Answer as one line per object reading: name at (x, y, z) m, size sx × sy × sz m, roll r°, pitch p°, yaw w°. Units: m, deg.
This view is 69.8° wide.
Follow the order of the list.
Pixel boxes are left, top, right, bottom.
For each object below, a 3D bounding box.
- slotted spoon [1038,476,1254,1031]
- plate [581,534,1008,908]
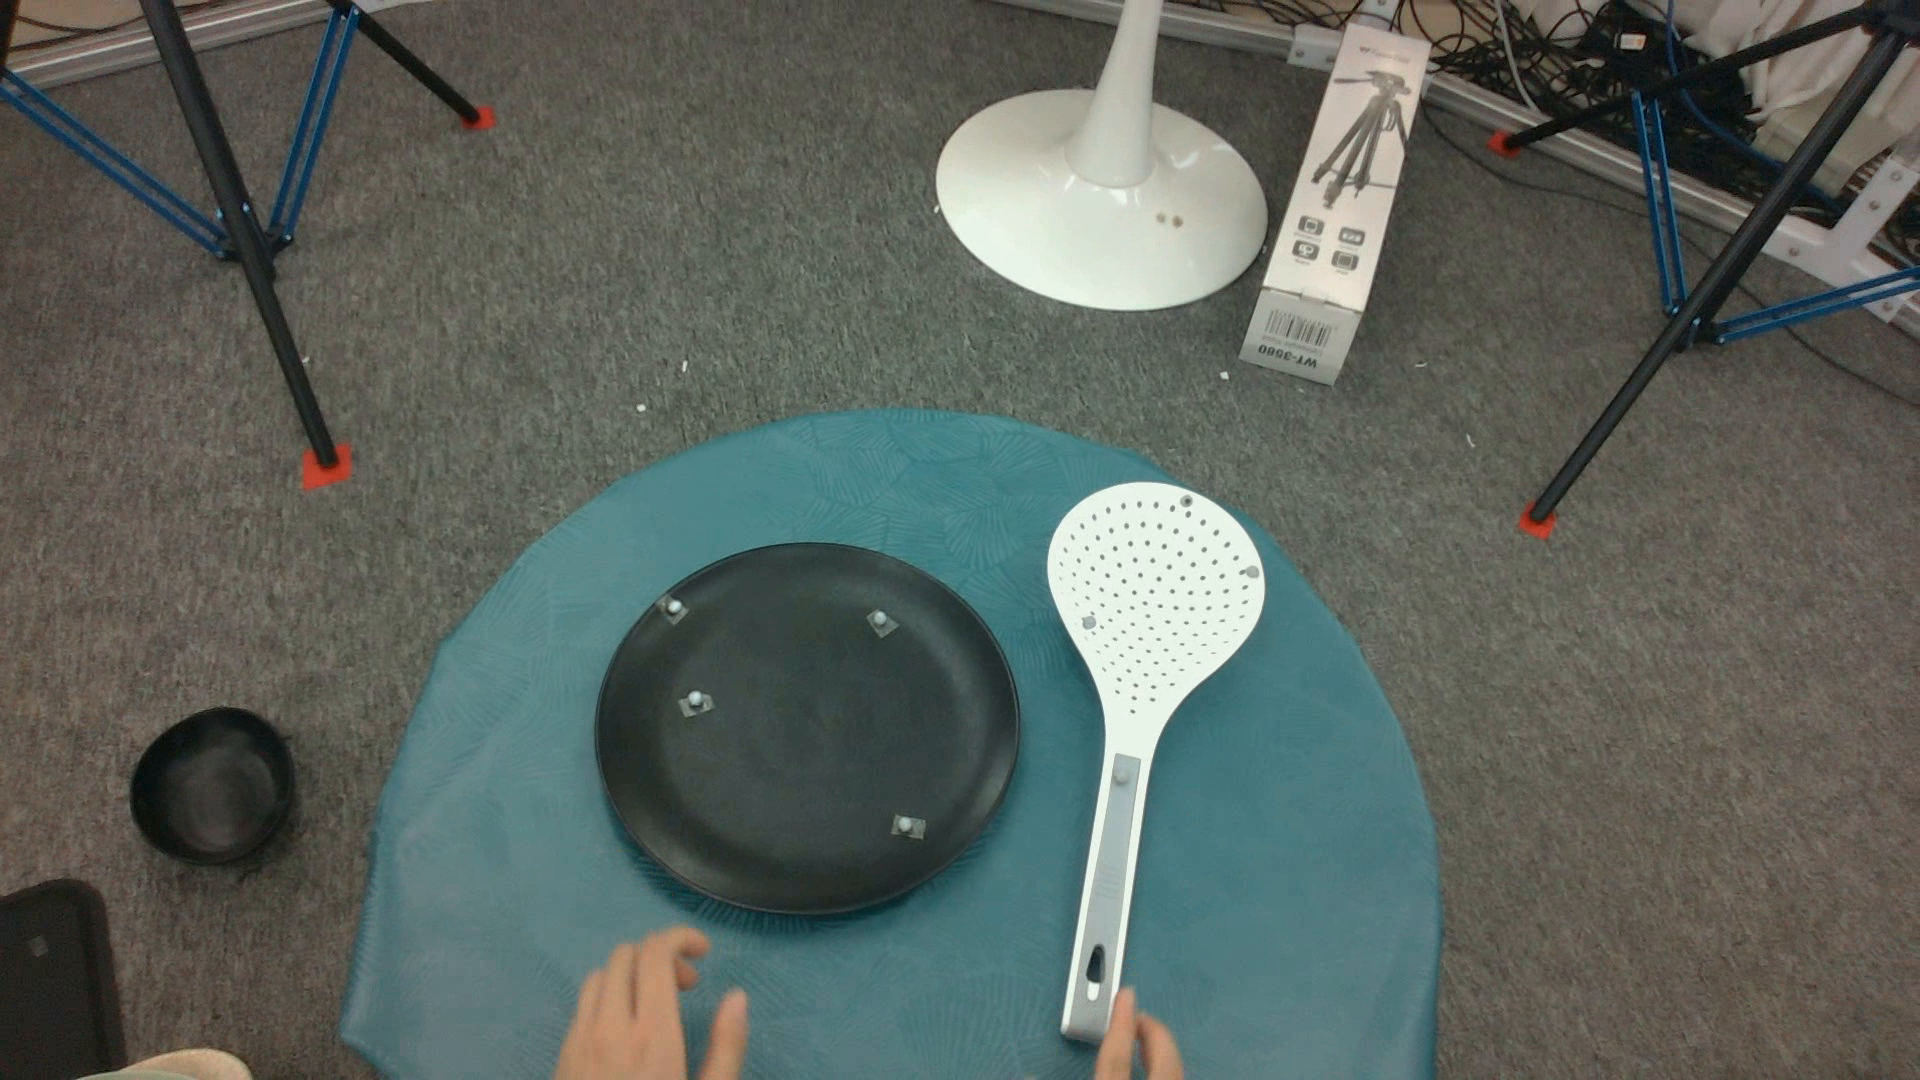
slotted spoon at (0.093, 0.108, 0.805) m, size 0.136 × 0.045 × 0.351 m, roll 12°, pitch 53°, yaw 3°
plate at (-0.093, 0.099, 0.799) m, size 0.244 × 0.023 × 0.245 m, roll 4°, pitch 52°, yaw -5°
